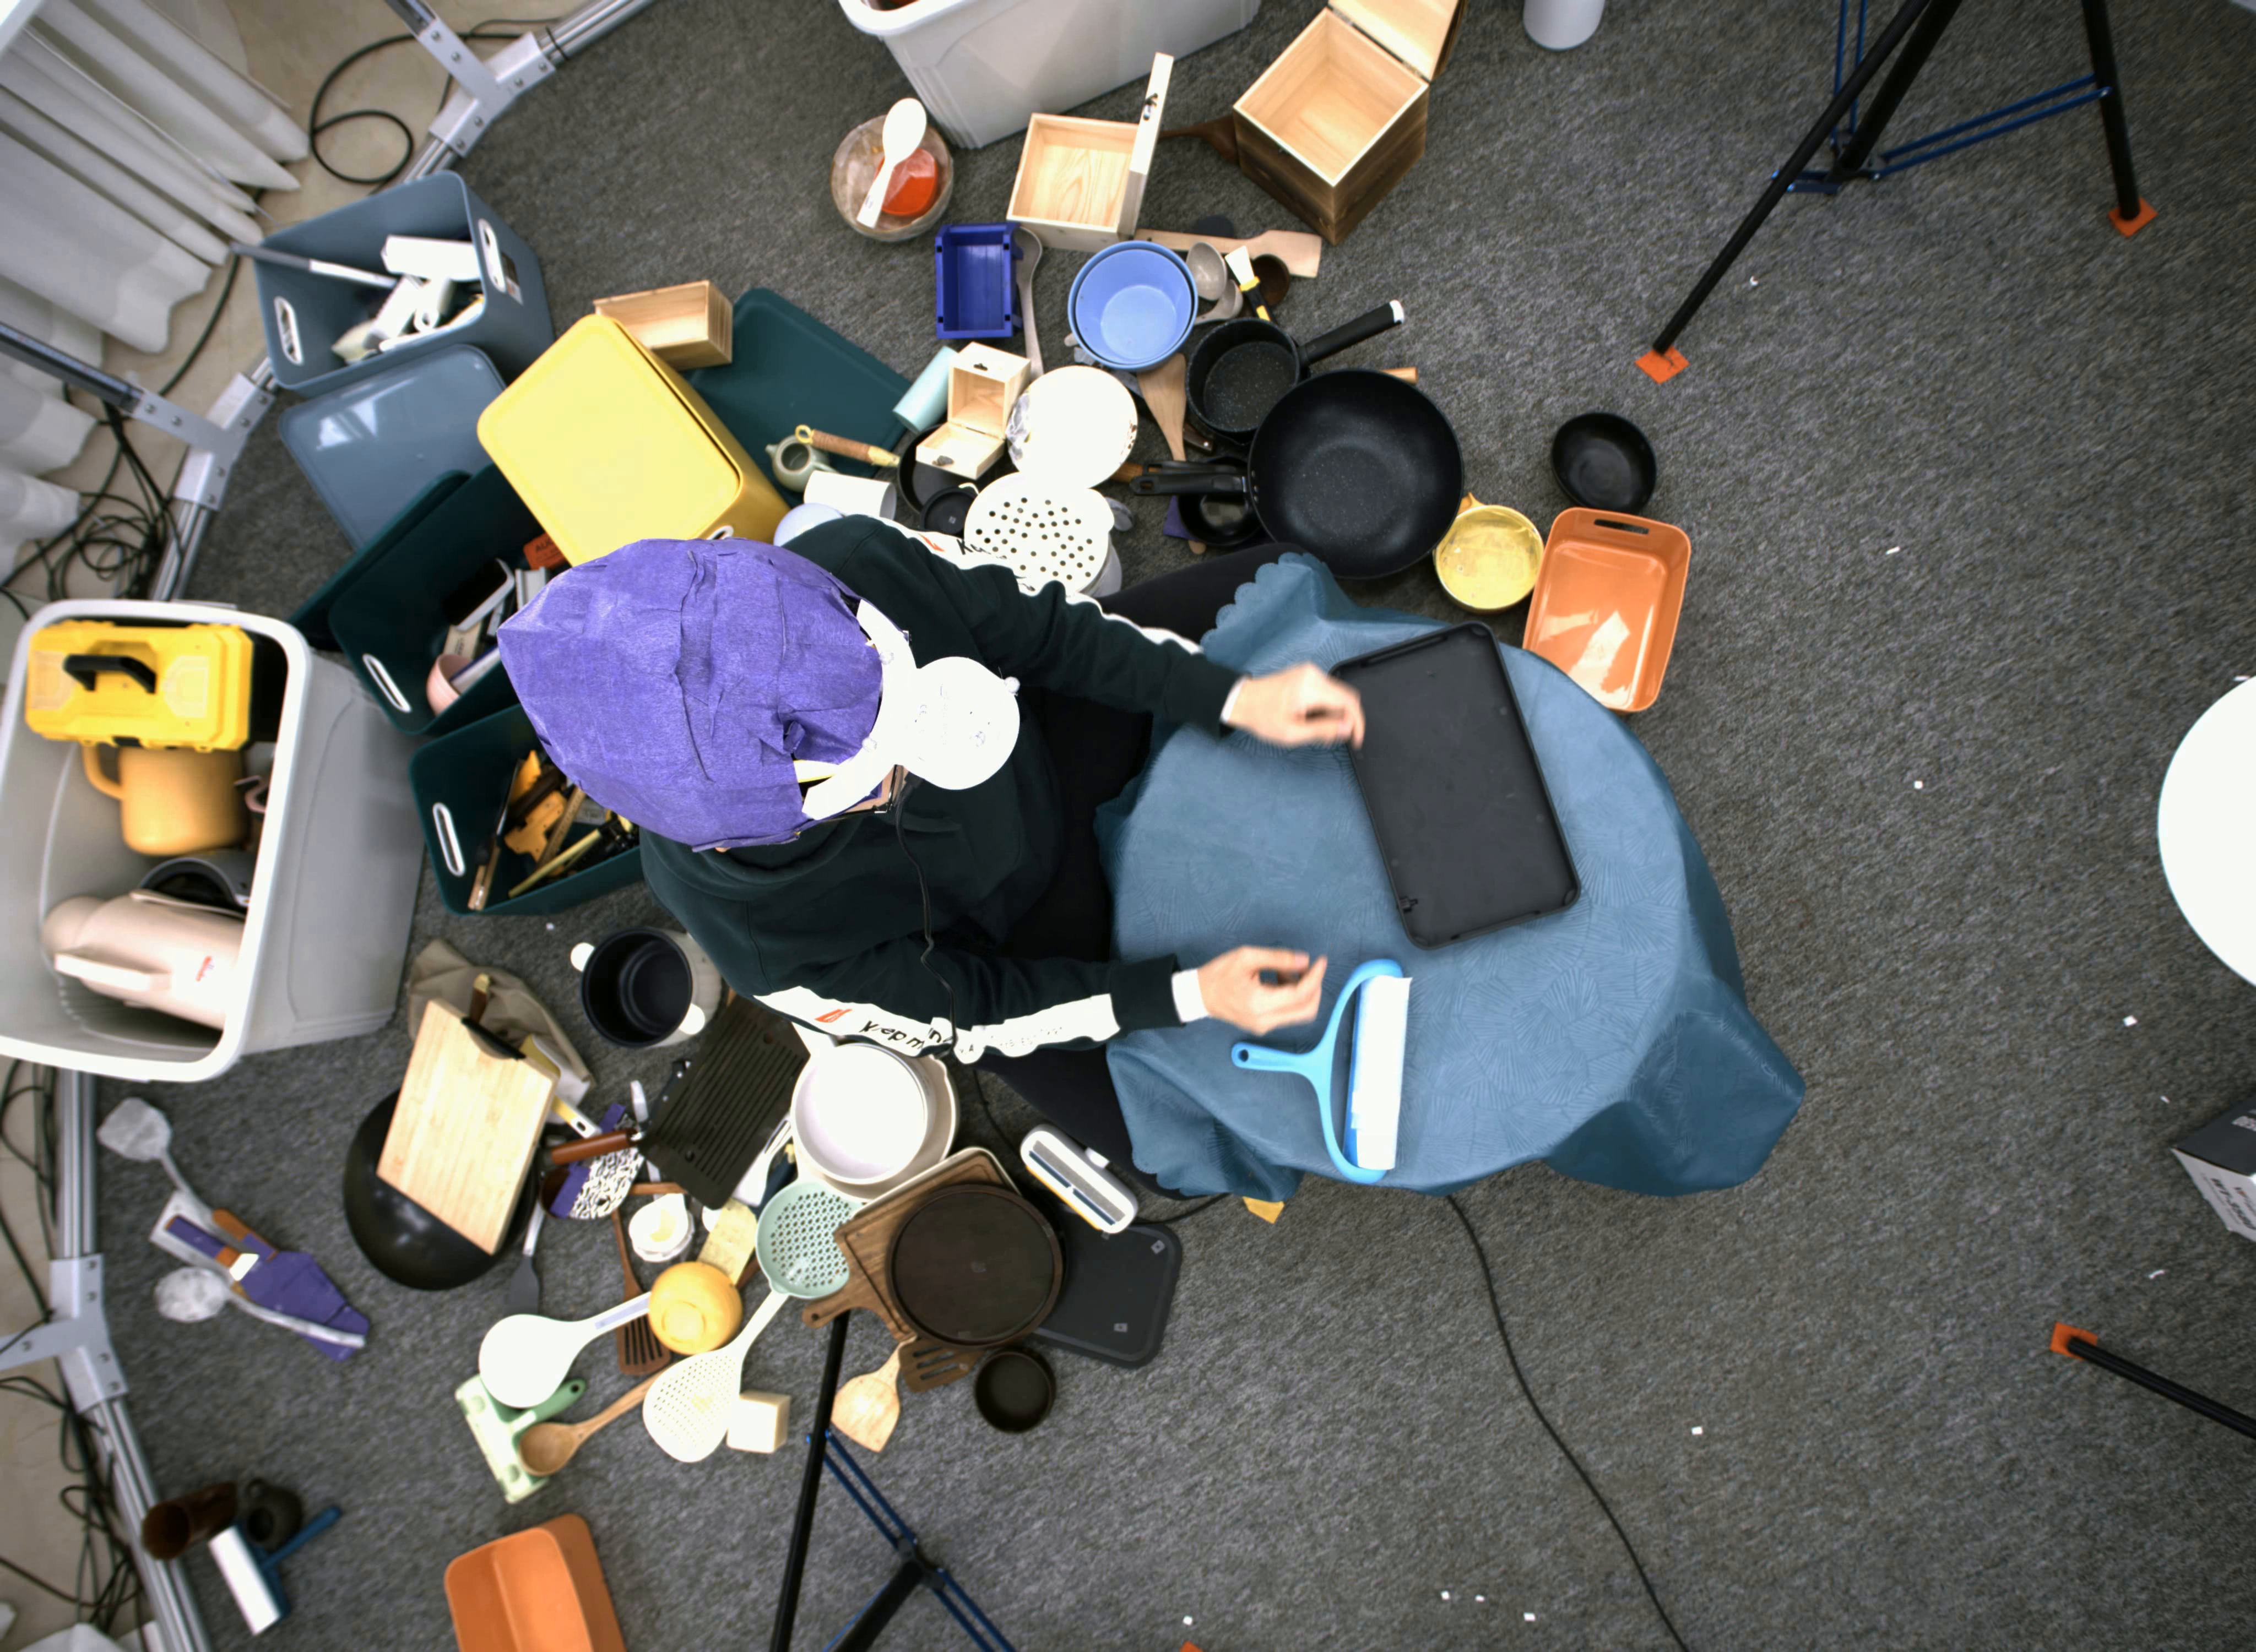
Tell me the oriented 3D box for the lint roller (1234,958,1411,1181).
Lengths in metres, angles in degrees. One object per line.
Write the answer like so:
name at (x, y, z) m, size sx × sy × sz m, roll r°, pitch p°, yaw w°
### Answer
lint roller at (0.197, 0.246, 1.431) m, size 0.181 × 0.068 × 0.228 m, roll 2°, pitch 89°, yaw 9°

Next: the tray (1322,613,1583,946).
tray at (0.335, -0.050, 1.432) m, size 0.185 × 0.037 × 0.316 m, roll -19°, pitch 85°, yaw 9°
